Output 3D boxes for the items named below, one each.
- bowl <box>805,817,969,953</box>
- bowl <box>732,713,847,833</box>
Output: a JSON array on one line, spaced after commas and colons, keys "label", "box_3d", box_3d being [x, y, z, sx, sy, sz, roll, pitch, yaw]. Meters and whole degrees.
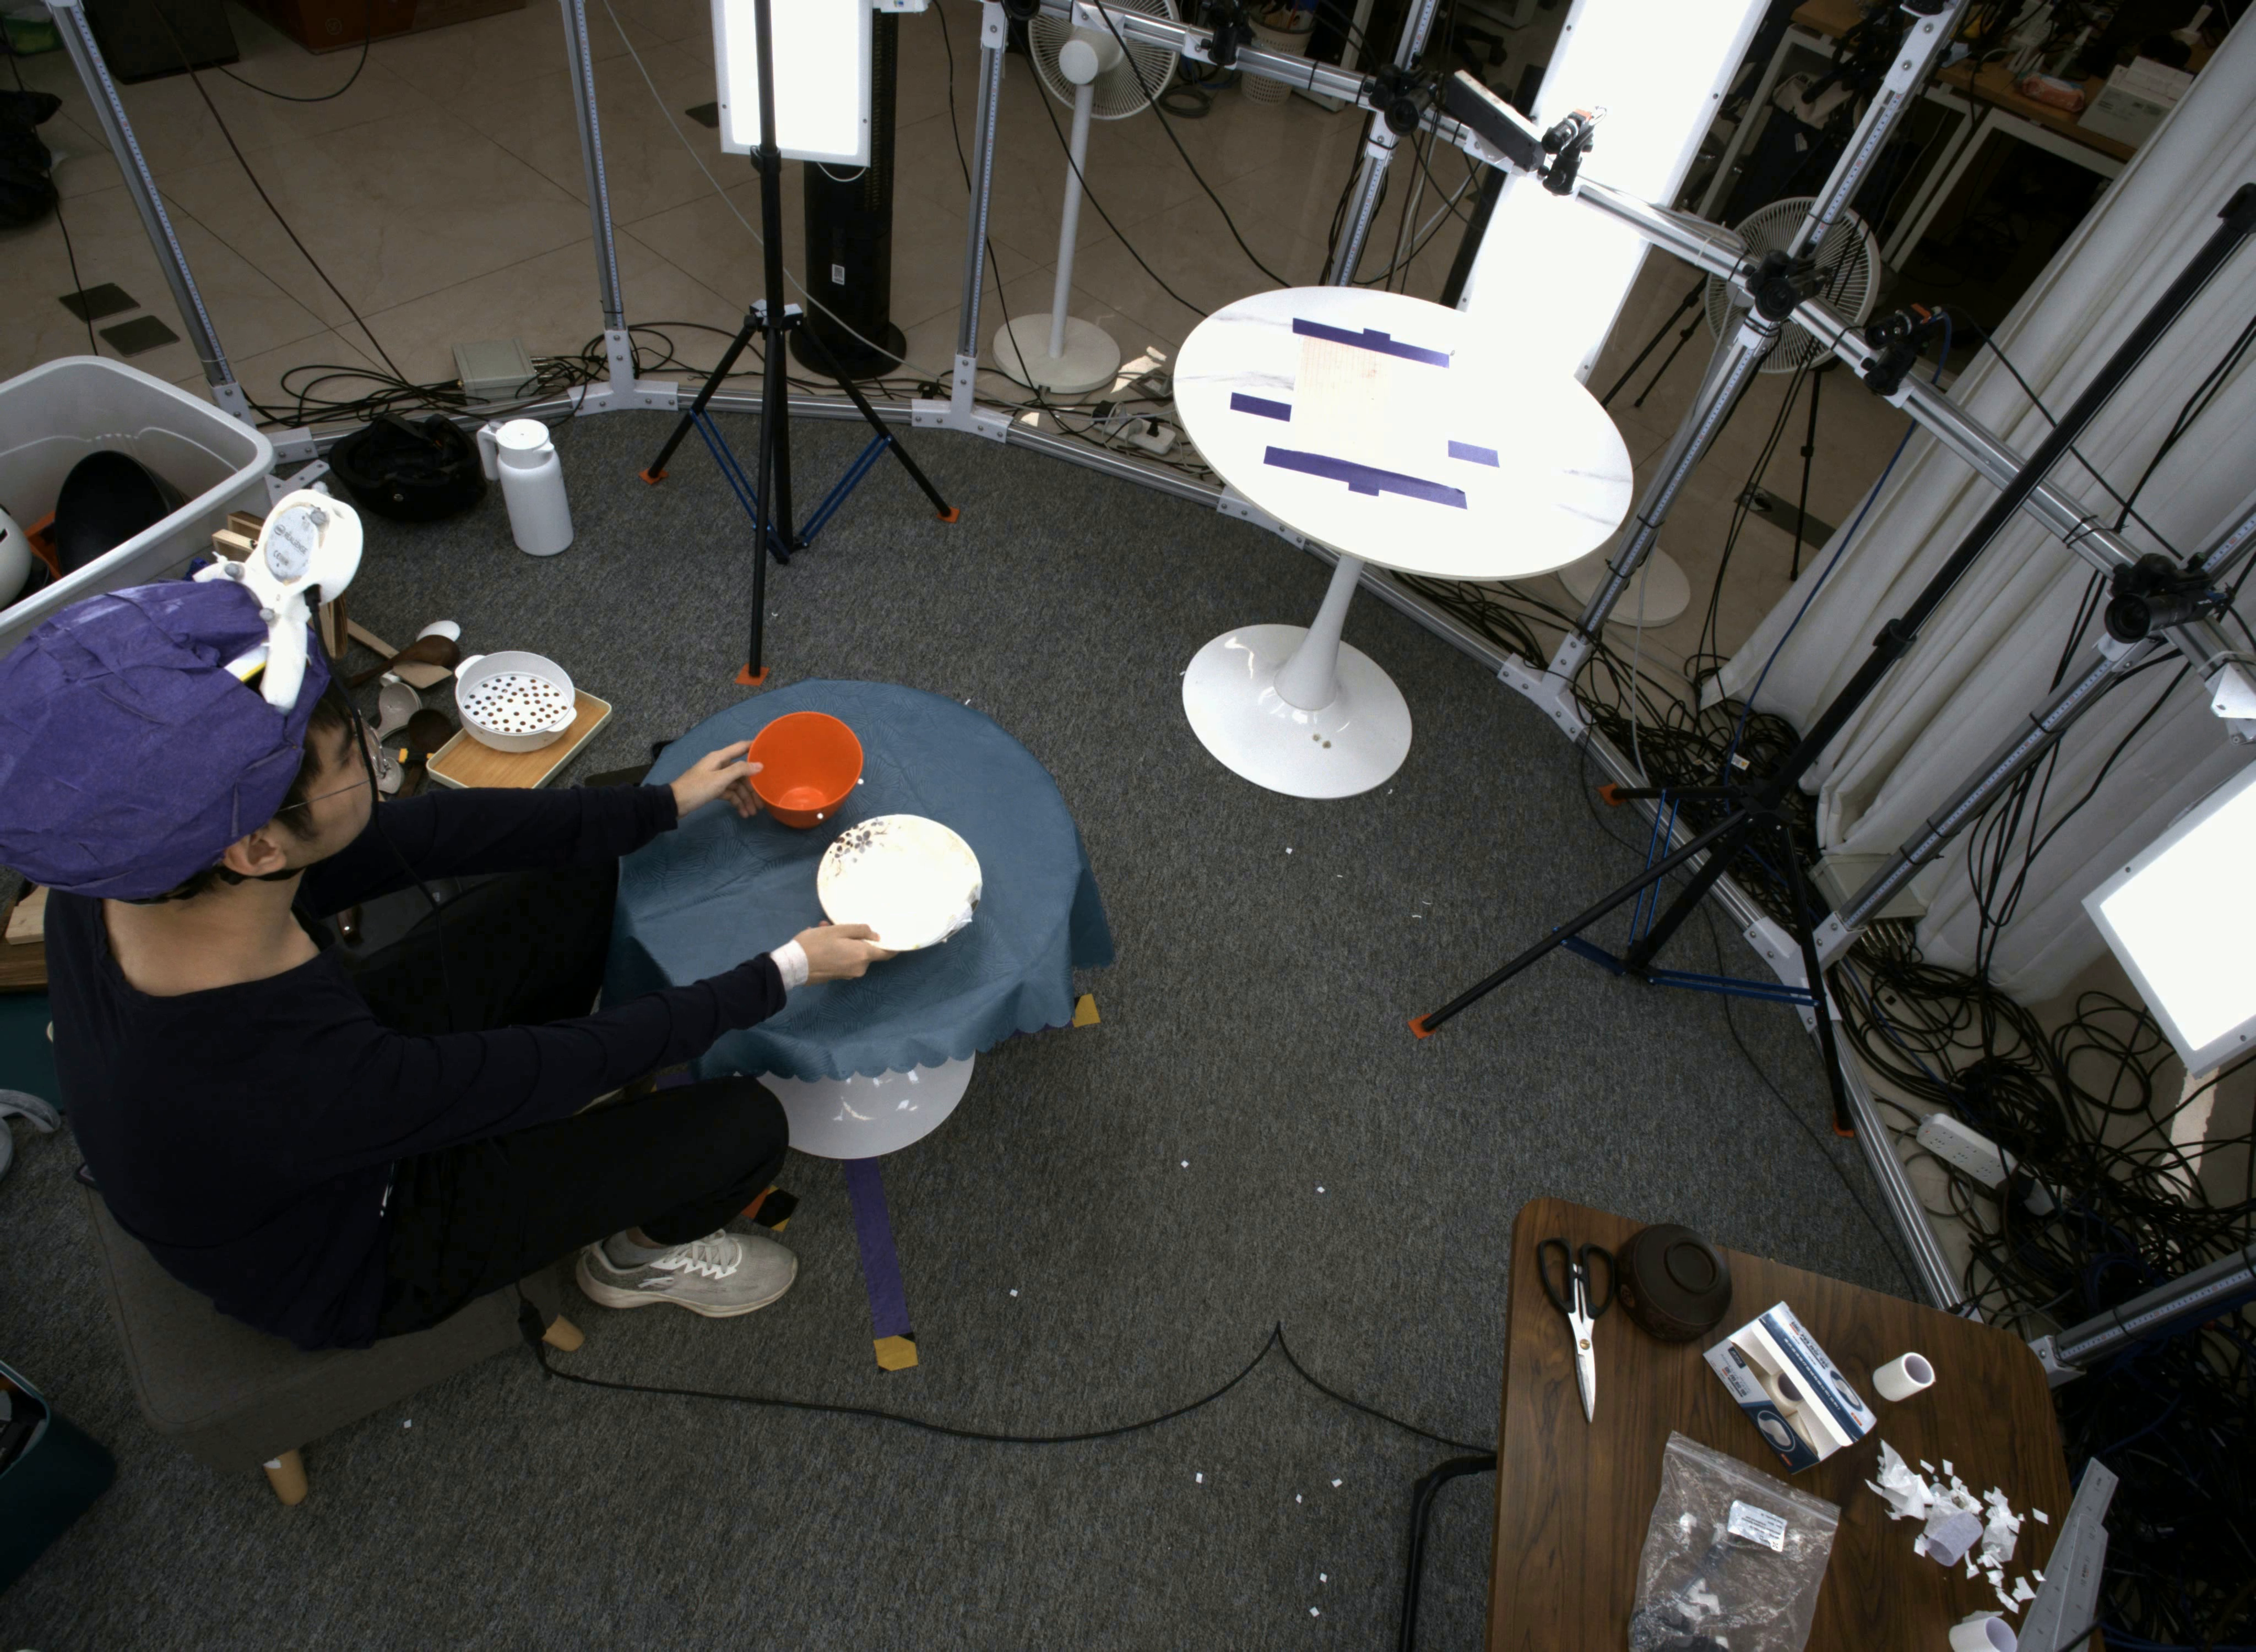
[{"label": "bowl", "box_3d": [-0.304, 0.091, 1.648, 0.203, 0.079, 0.200, 7, 54, -7]}, {"label": "bowl", "box_3d": [-0.444, -0.058, 1.709, 0.147, 0.107, 0.145, 7, 54, -7]}]
